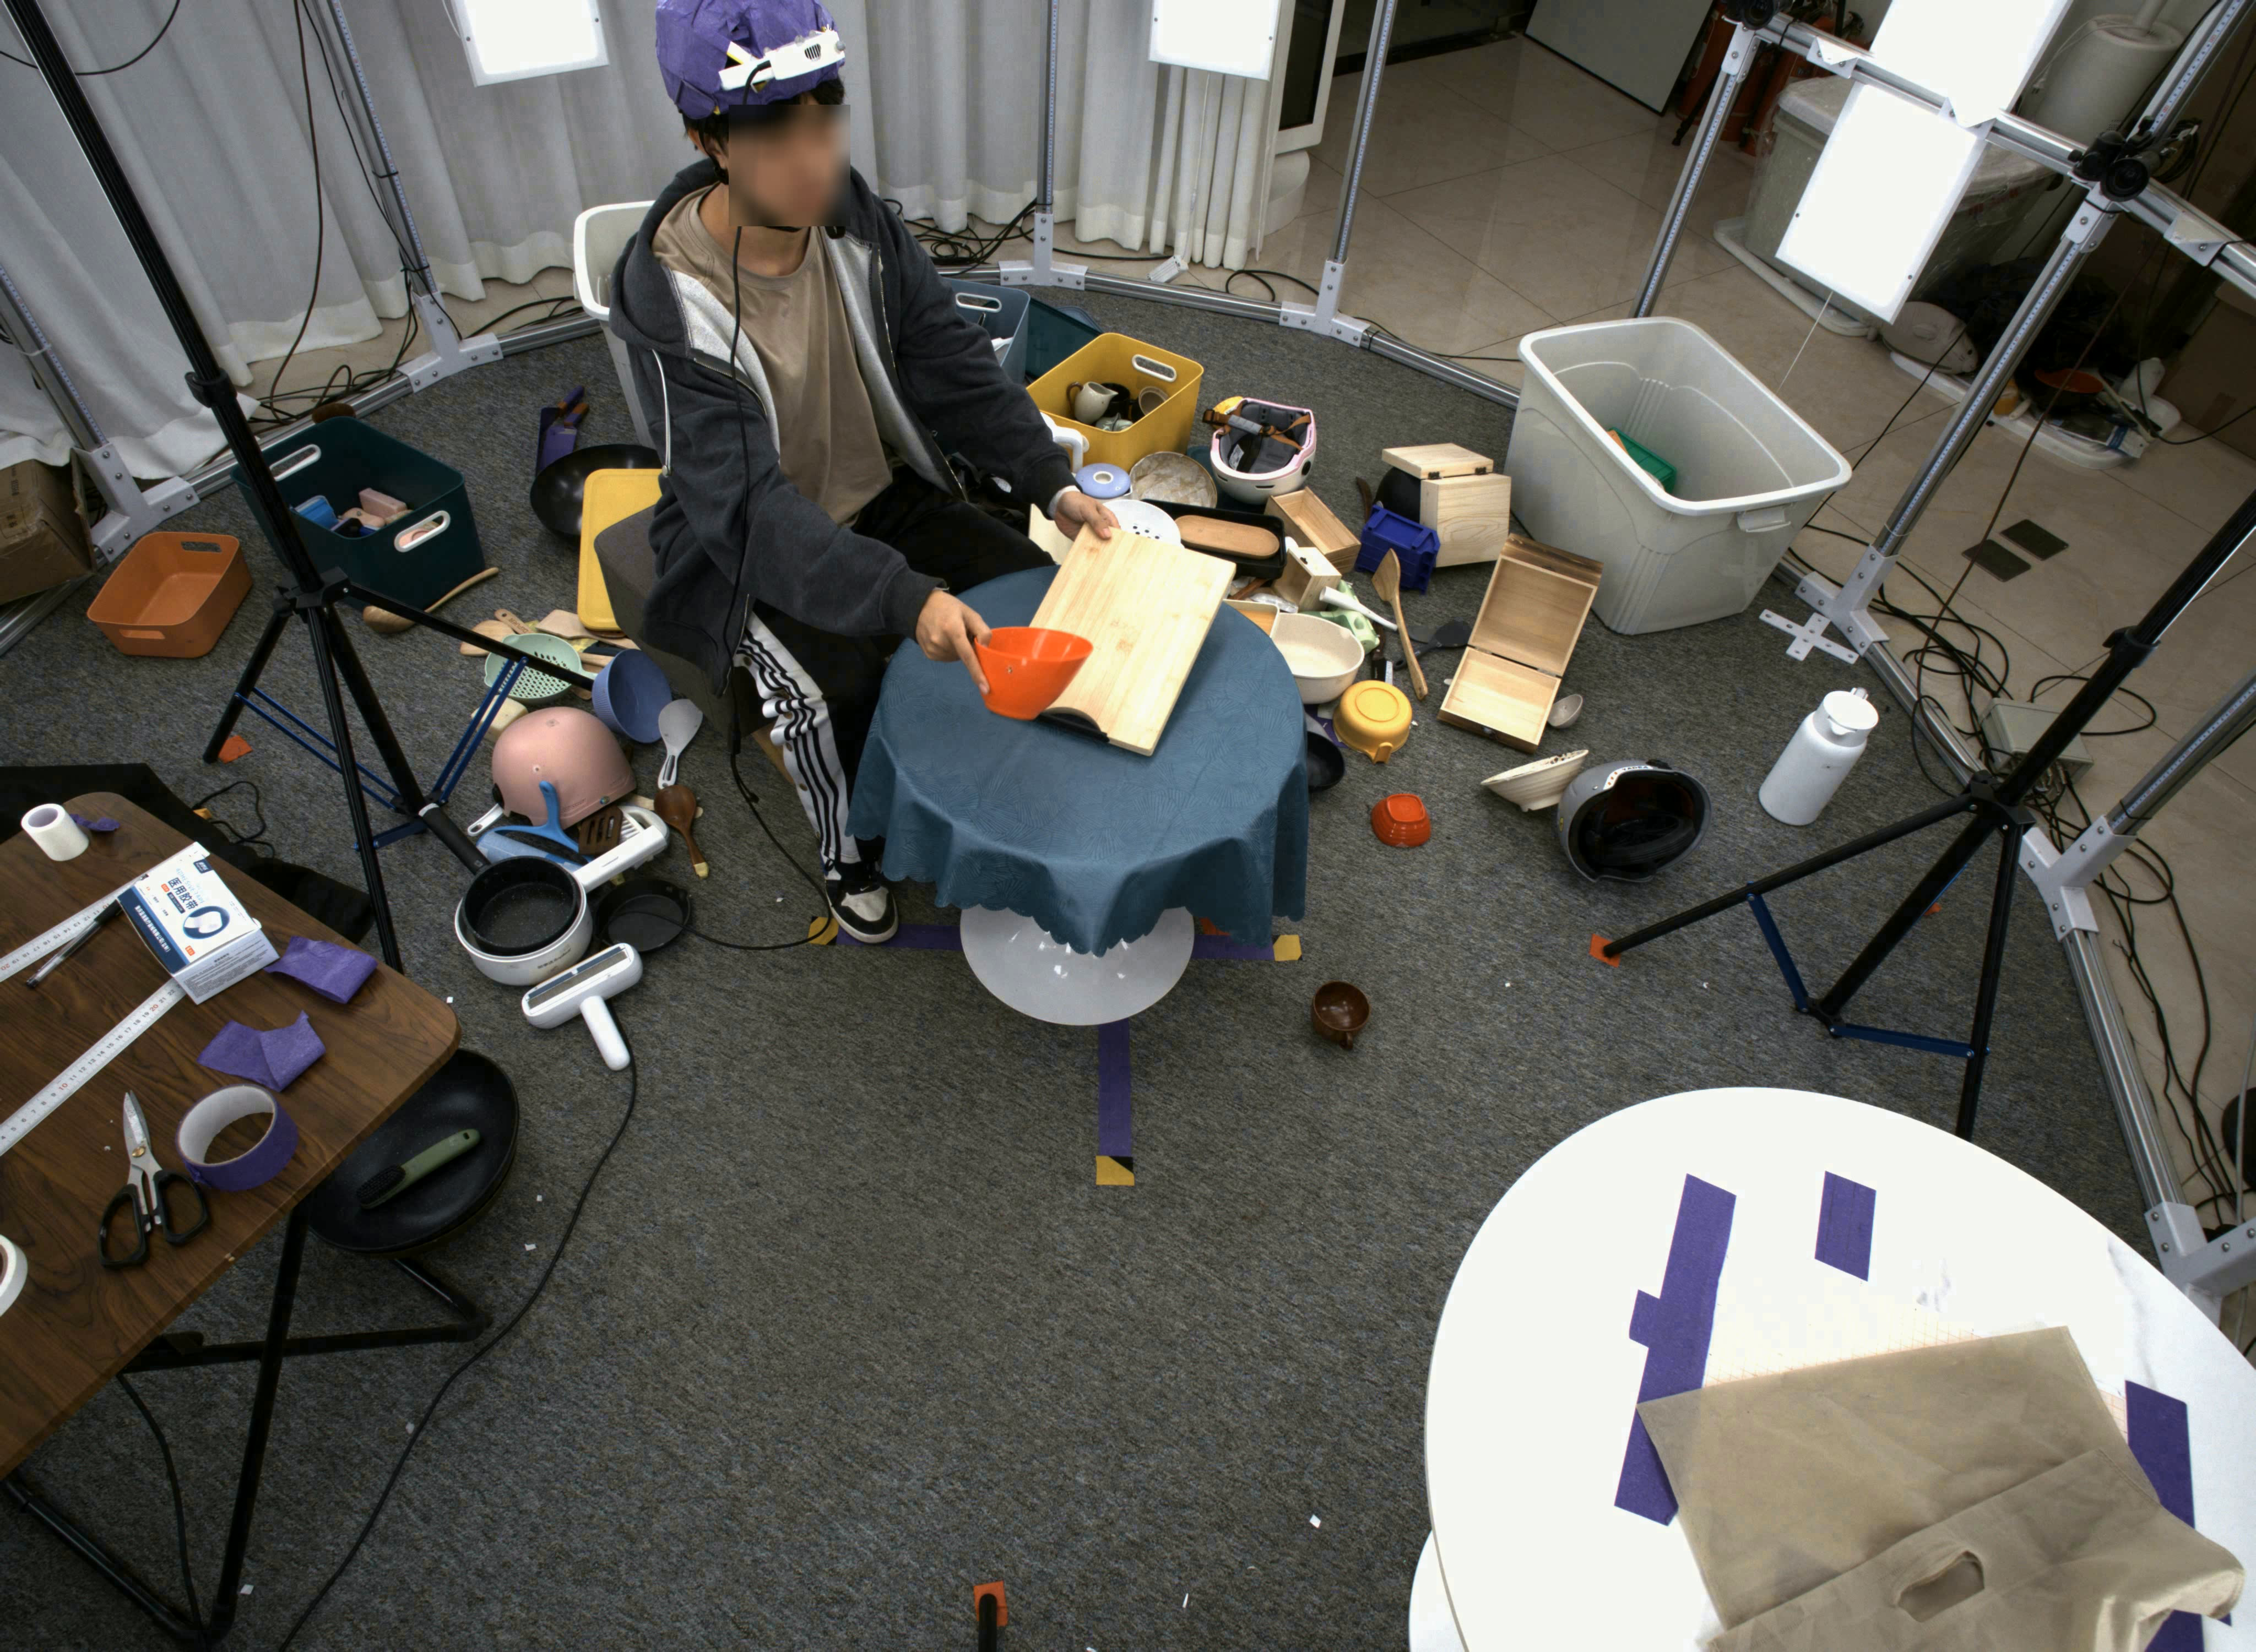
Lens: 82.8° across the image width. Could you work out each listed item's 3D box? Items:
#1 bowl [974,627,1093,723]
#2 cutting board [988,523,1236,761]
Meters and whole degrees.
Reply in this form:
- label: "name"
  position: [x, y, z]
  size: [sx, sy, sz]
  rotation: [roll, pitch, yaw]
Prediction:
- label: "bowl"
  position: [-0.127, -0.188, 1.611]
  size: [0.147, 0.103, 0.150]
  rotation: [15, 19, -6]
- label: "cutting board"
  position: [-0.017, -0.271, 1.839]
  size: [0.252, 0.023, 0.354]
  rotation: [18, 63, 13]
